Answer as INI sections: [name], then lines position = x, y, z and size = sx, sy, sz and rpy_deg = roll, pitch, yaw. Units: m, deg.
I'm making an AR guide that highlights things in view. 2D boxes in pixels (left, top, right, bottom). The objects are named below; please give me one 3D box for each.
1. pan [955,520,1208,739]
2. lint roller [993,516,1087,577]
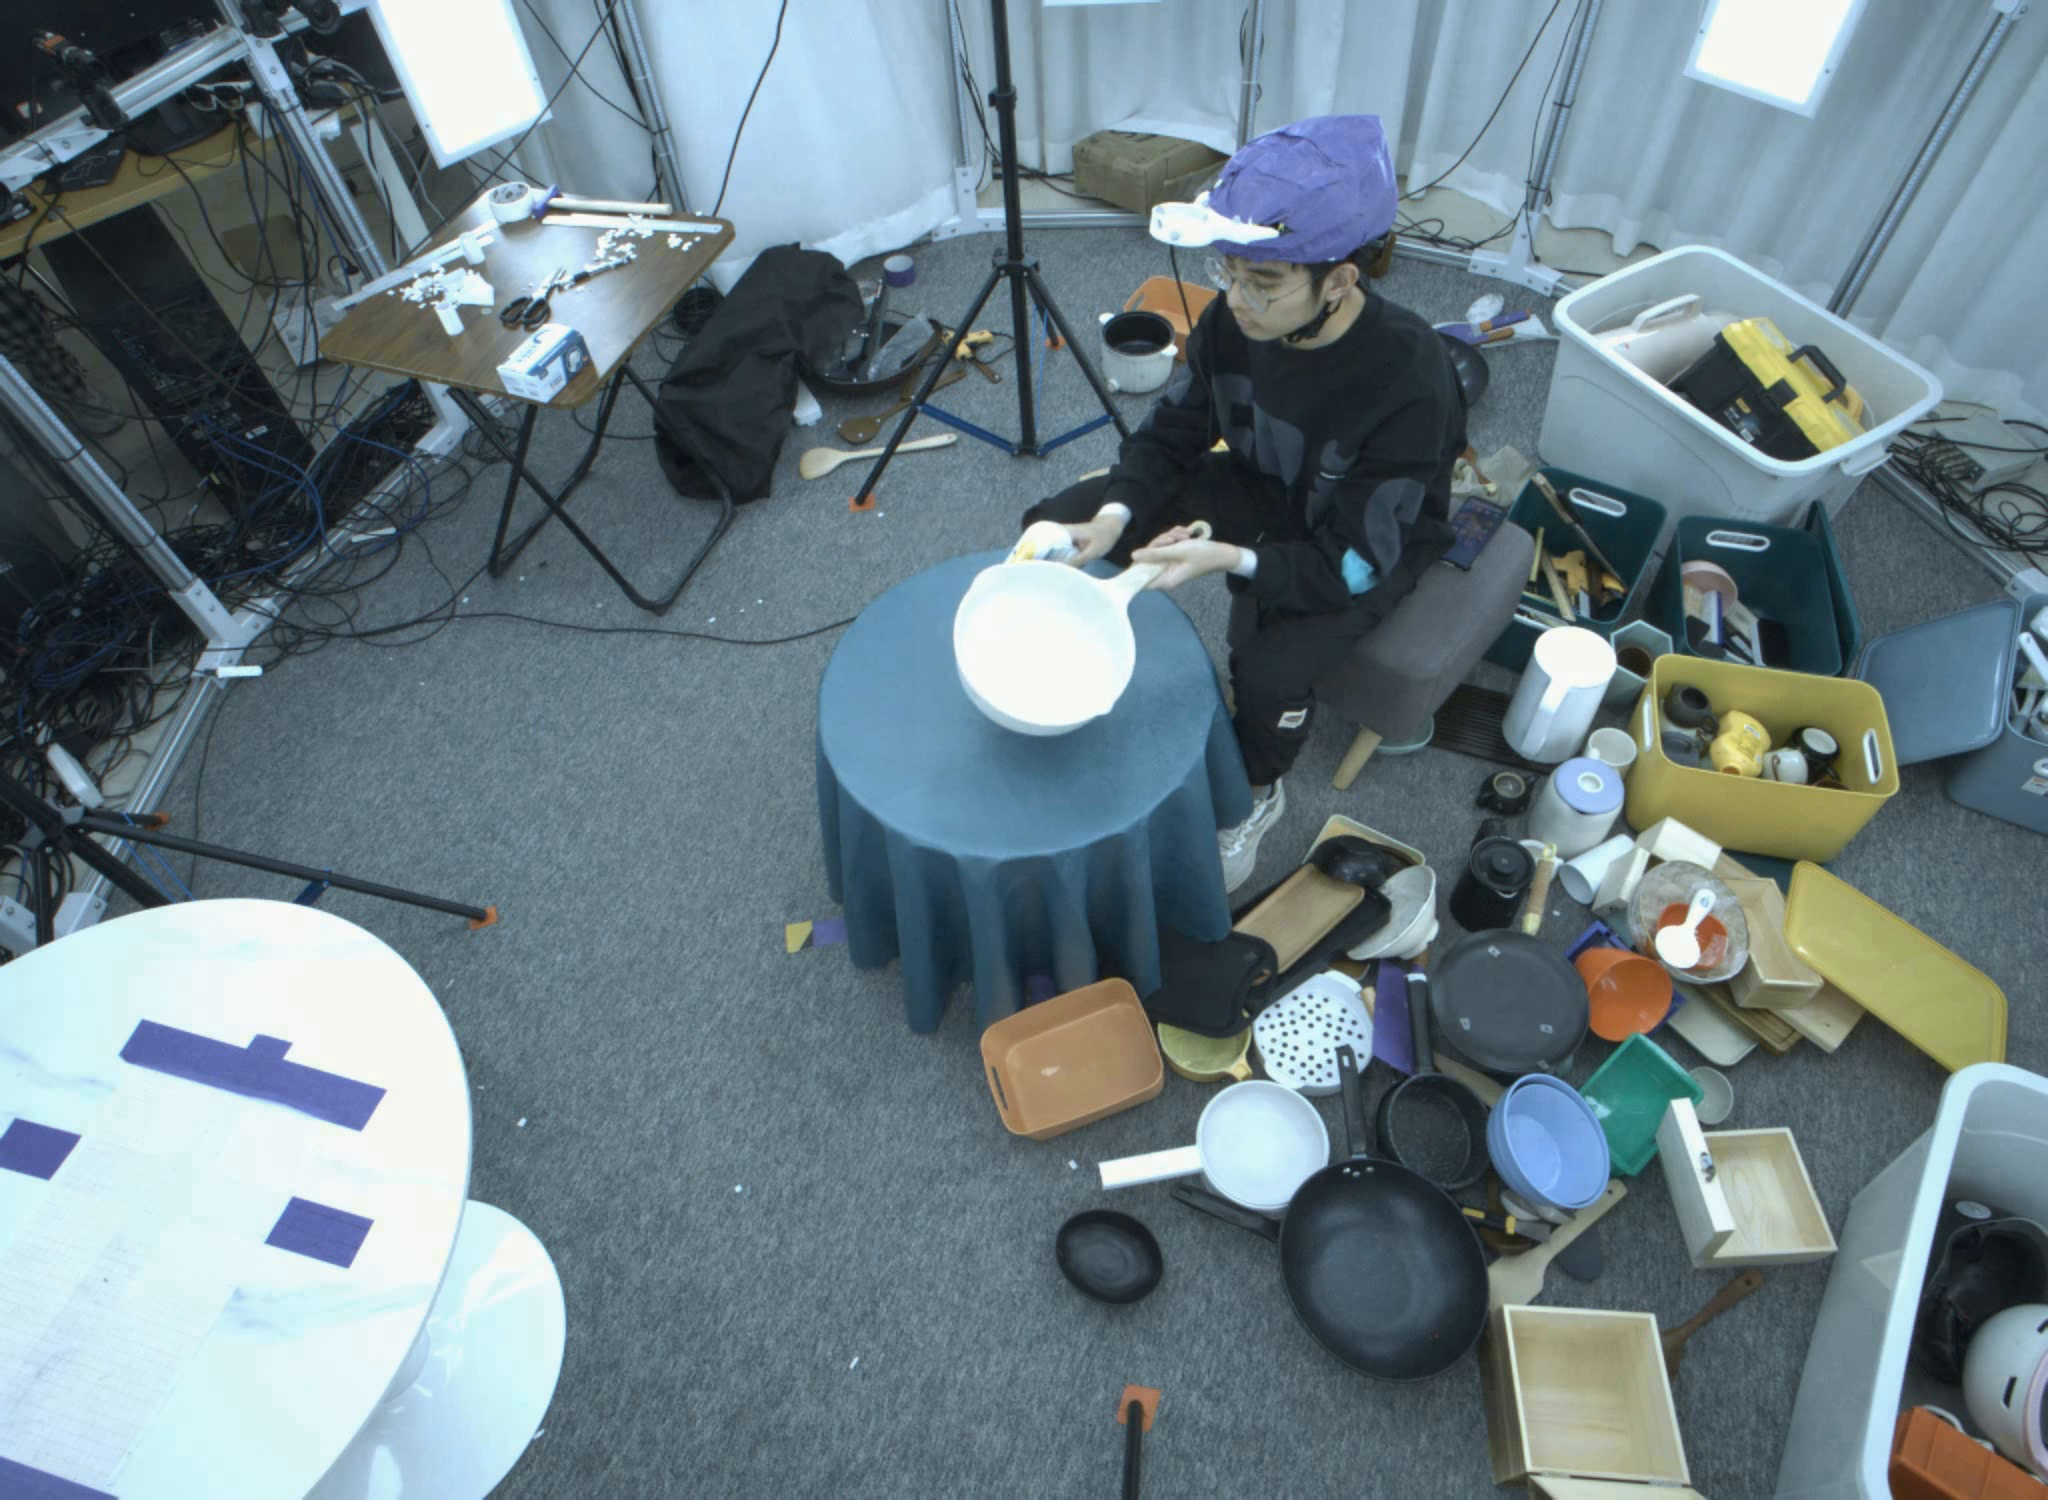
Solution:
[pan]
position = 0.094, -0.184, 1.727
size = 0.438, 0.102, 0.261
rpy_deg = -37, 79, -23
[lint roller]
position = 0.038, -0.275, 1.823
size = 0.196, 0.192, 0.073
rpy_deg = -16, 60, -48
